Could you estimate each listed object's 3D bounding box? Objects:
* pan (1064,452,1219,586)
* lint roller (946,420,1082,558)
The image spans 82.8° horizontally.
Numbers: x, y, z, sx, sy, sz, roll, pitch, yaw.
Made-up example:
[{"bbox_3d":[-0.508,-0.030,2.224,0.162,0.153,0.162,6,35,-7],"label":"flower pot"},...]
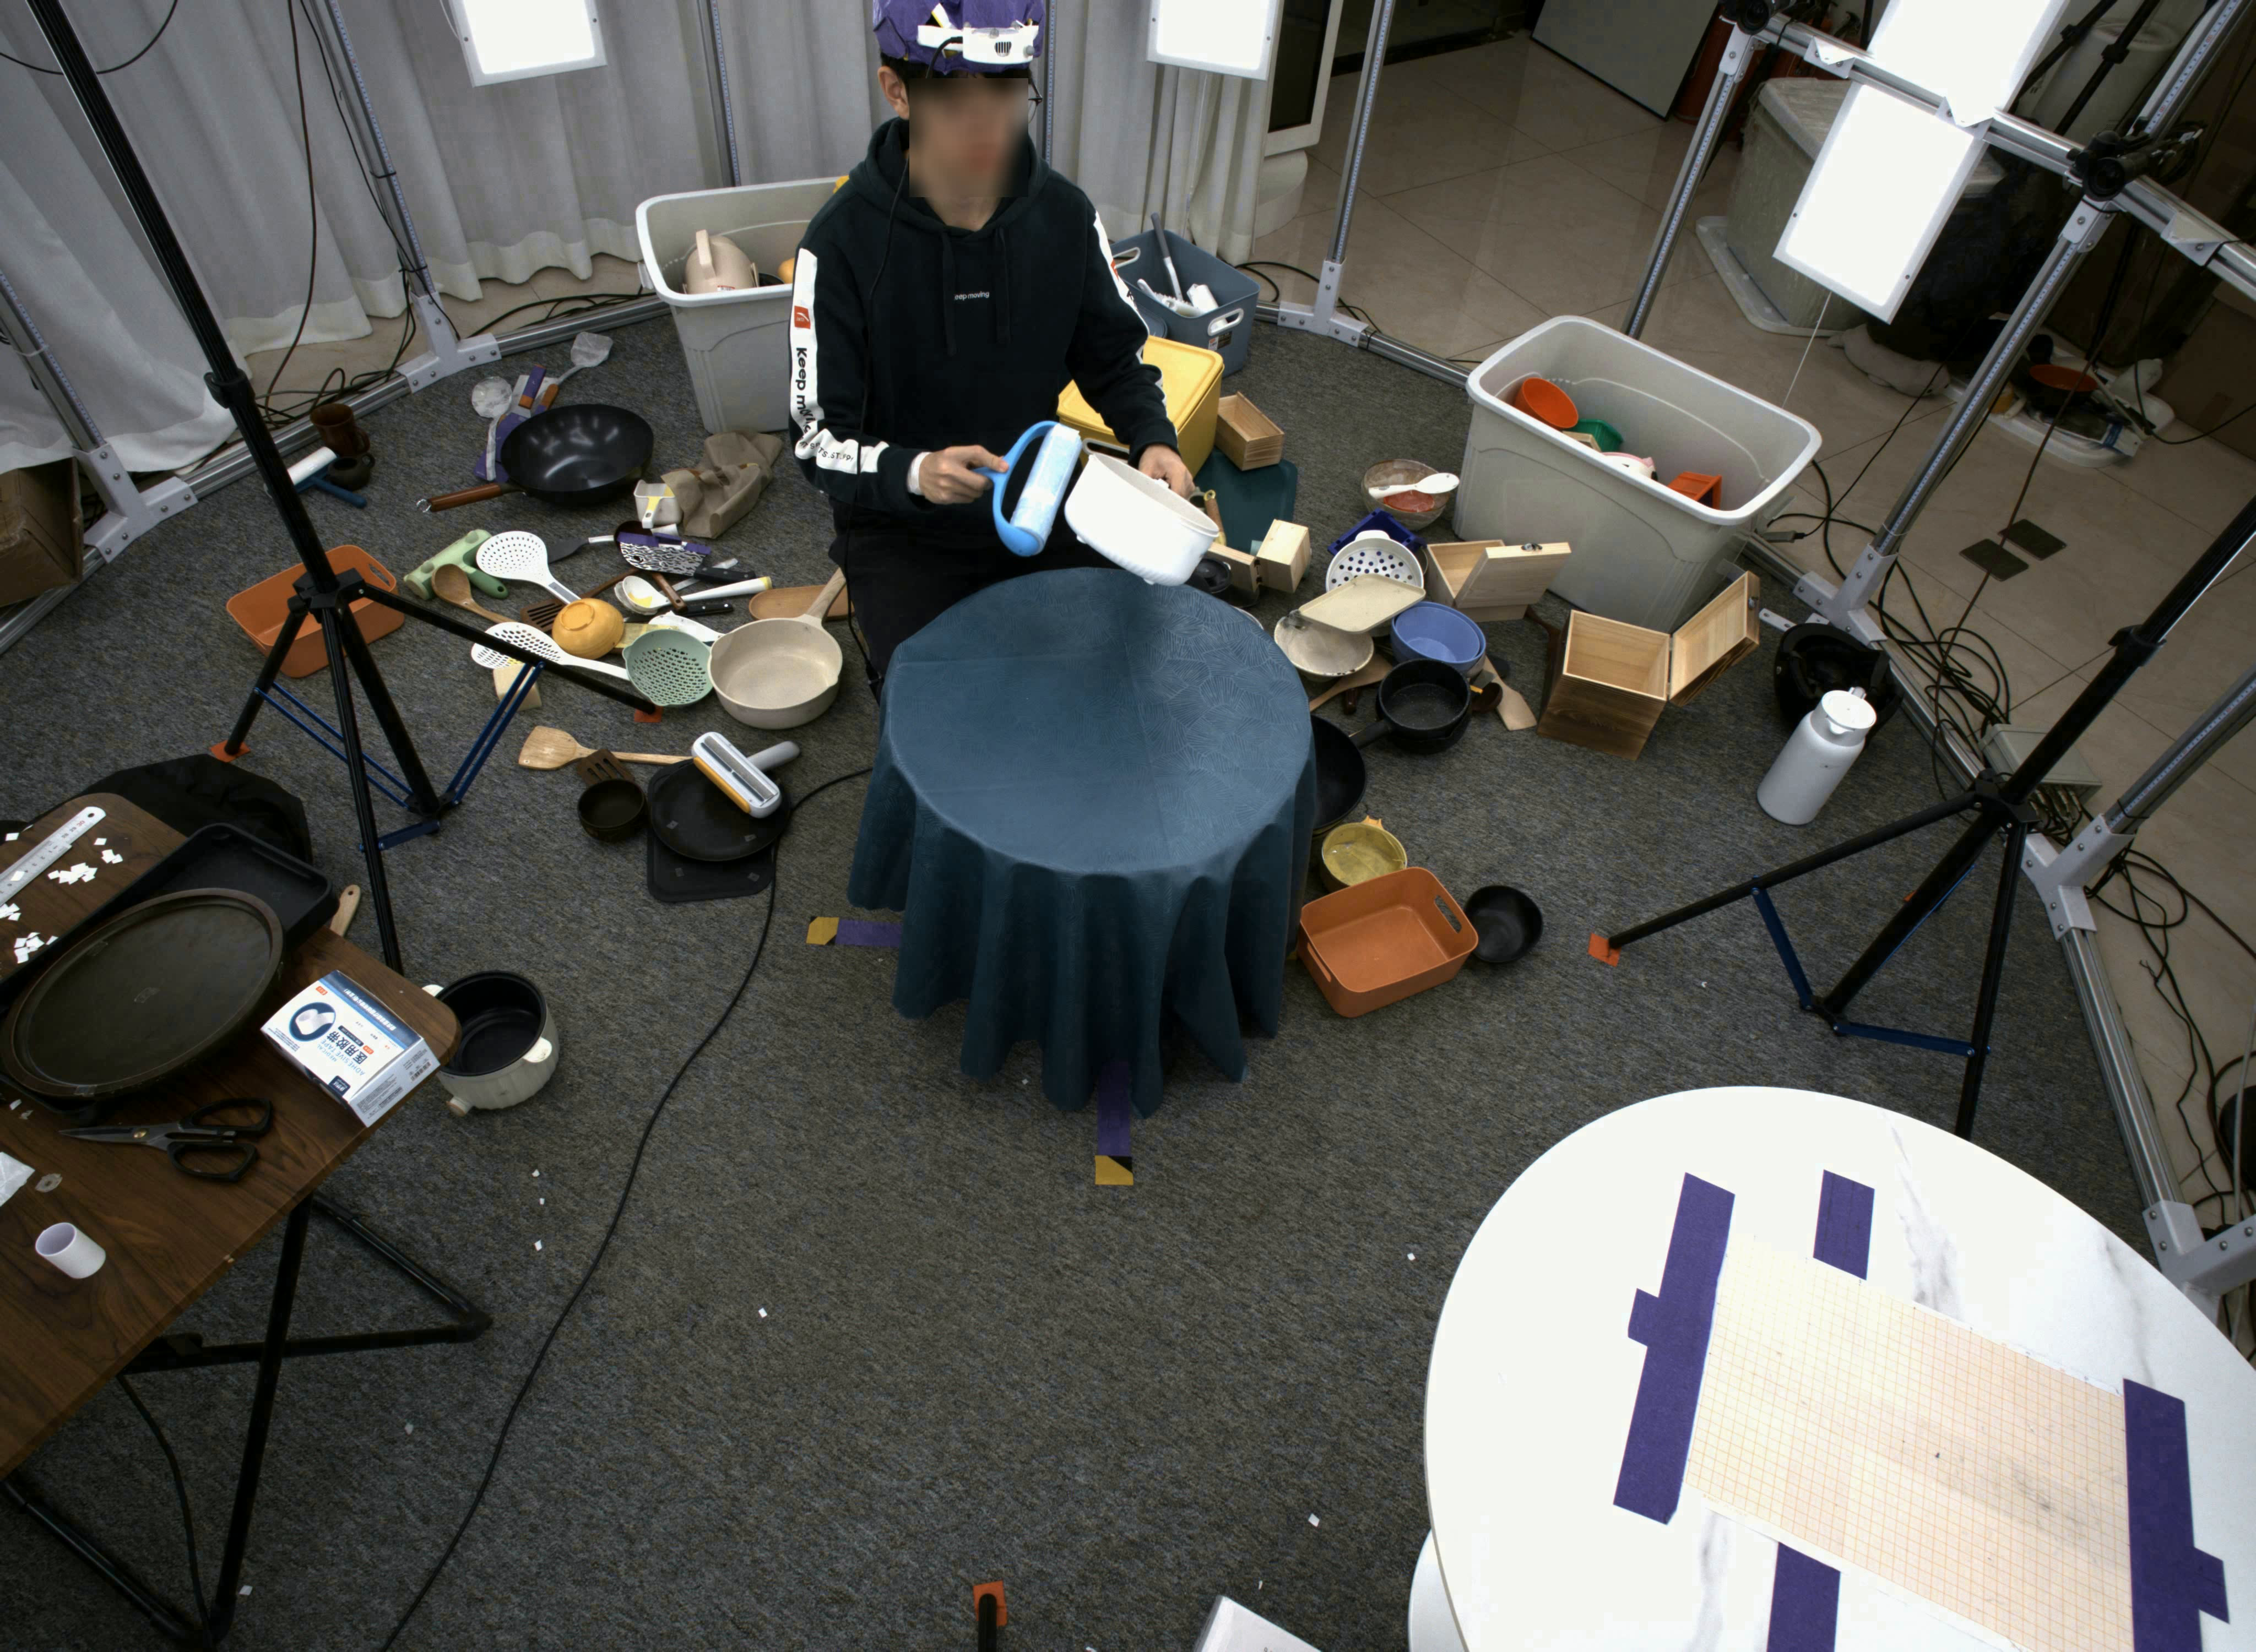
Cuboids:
[{"bbox_3d":[0.020,-0.427,1.792,0.201,0.101,0.359,30,19,-4],"label":"pan"},{"bbox_3d":[-0.169,-0.457,1.743,0.181,0.066,0.233,5,59,14],"label":"lint roller"}]
